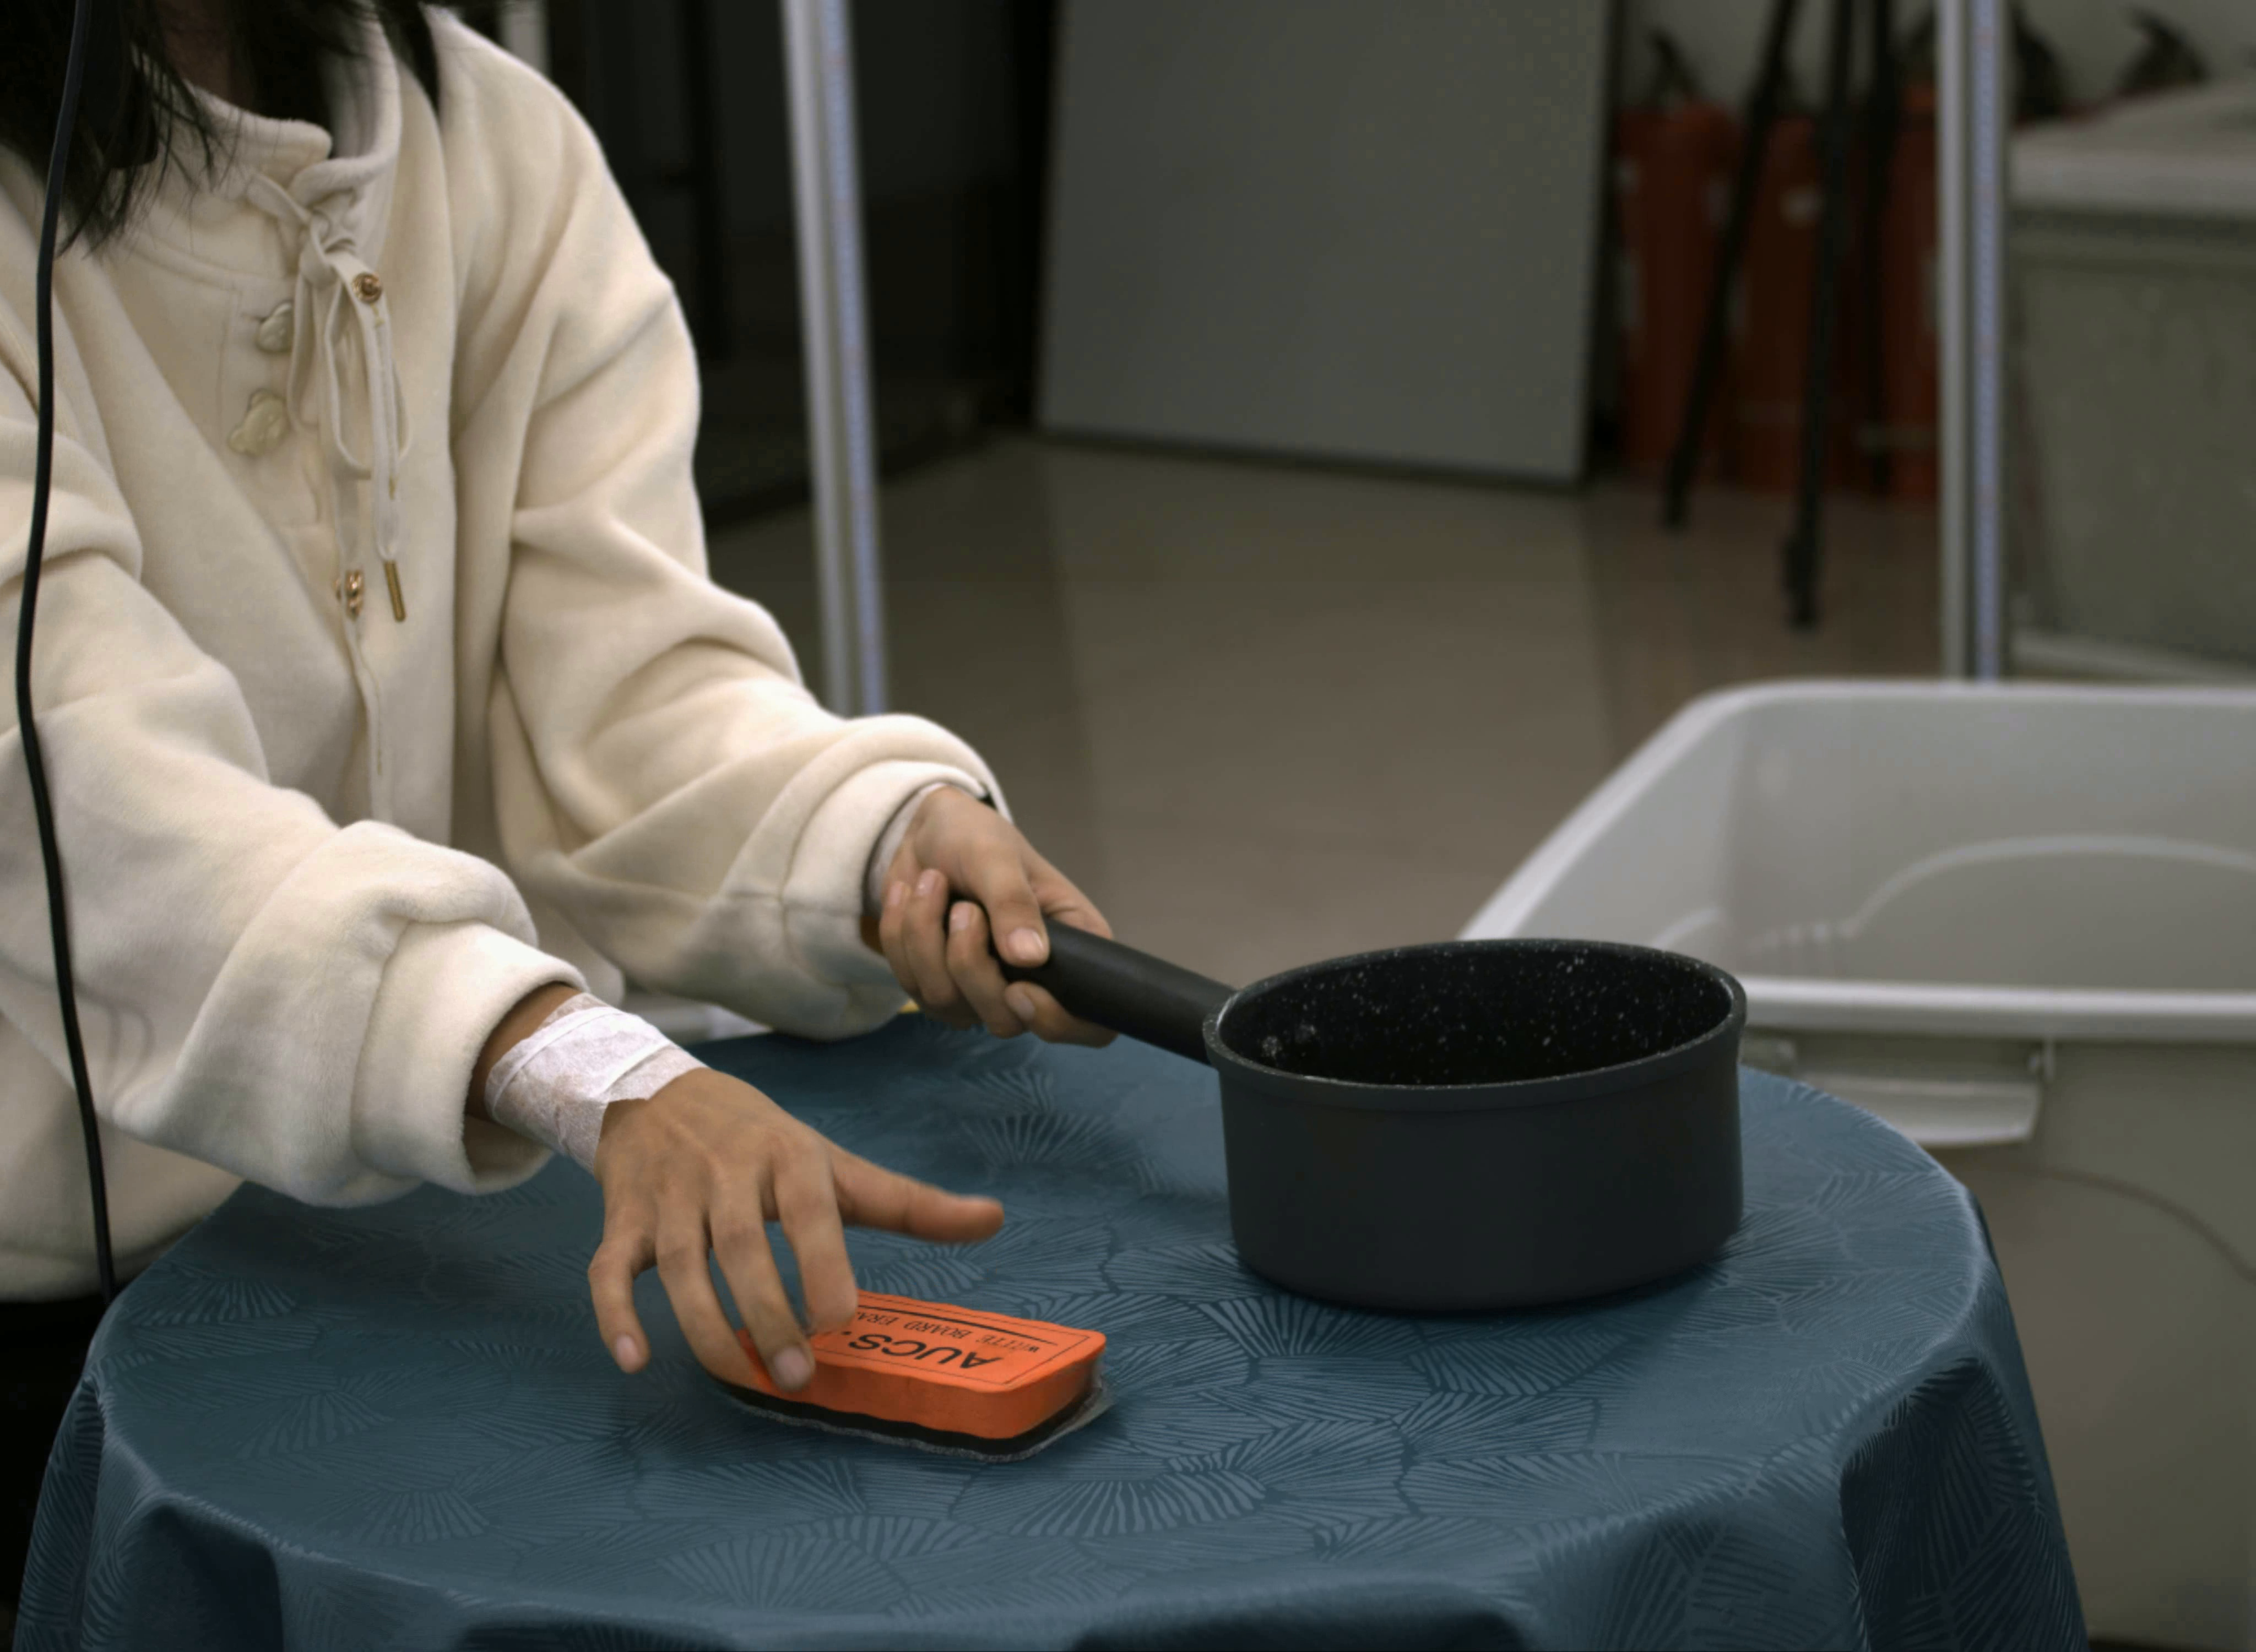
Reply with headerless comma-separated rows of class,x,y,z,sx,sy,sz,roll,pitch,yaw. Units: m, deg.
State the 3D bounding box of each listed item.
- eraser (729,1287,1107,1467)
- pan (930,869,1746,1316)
eraser,-0.061,0.160,1.580,0.109,0.023,0.058,6,19,37
pan,0.055,0.080,1.744,0.168,0.087,0.332,-16,19,-41
